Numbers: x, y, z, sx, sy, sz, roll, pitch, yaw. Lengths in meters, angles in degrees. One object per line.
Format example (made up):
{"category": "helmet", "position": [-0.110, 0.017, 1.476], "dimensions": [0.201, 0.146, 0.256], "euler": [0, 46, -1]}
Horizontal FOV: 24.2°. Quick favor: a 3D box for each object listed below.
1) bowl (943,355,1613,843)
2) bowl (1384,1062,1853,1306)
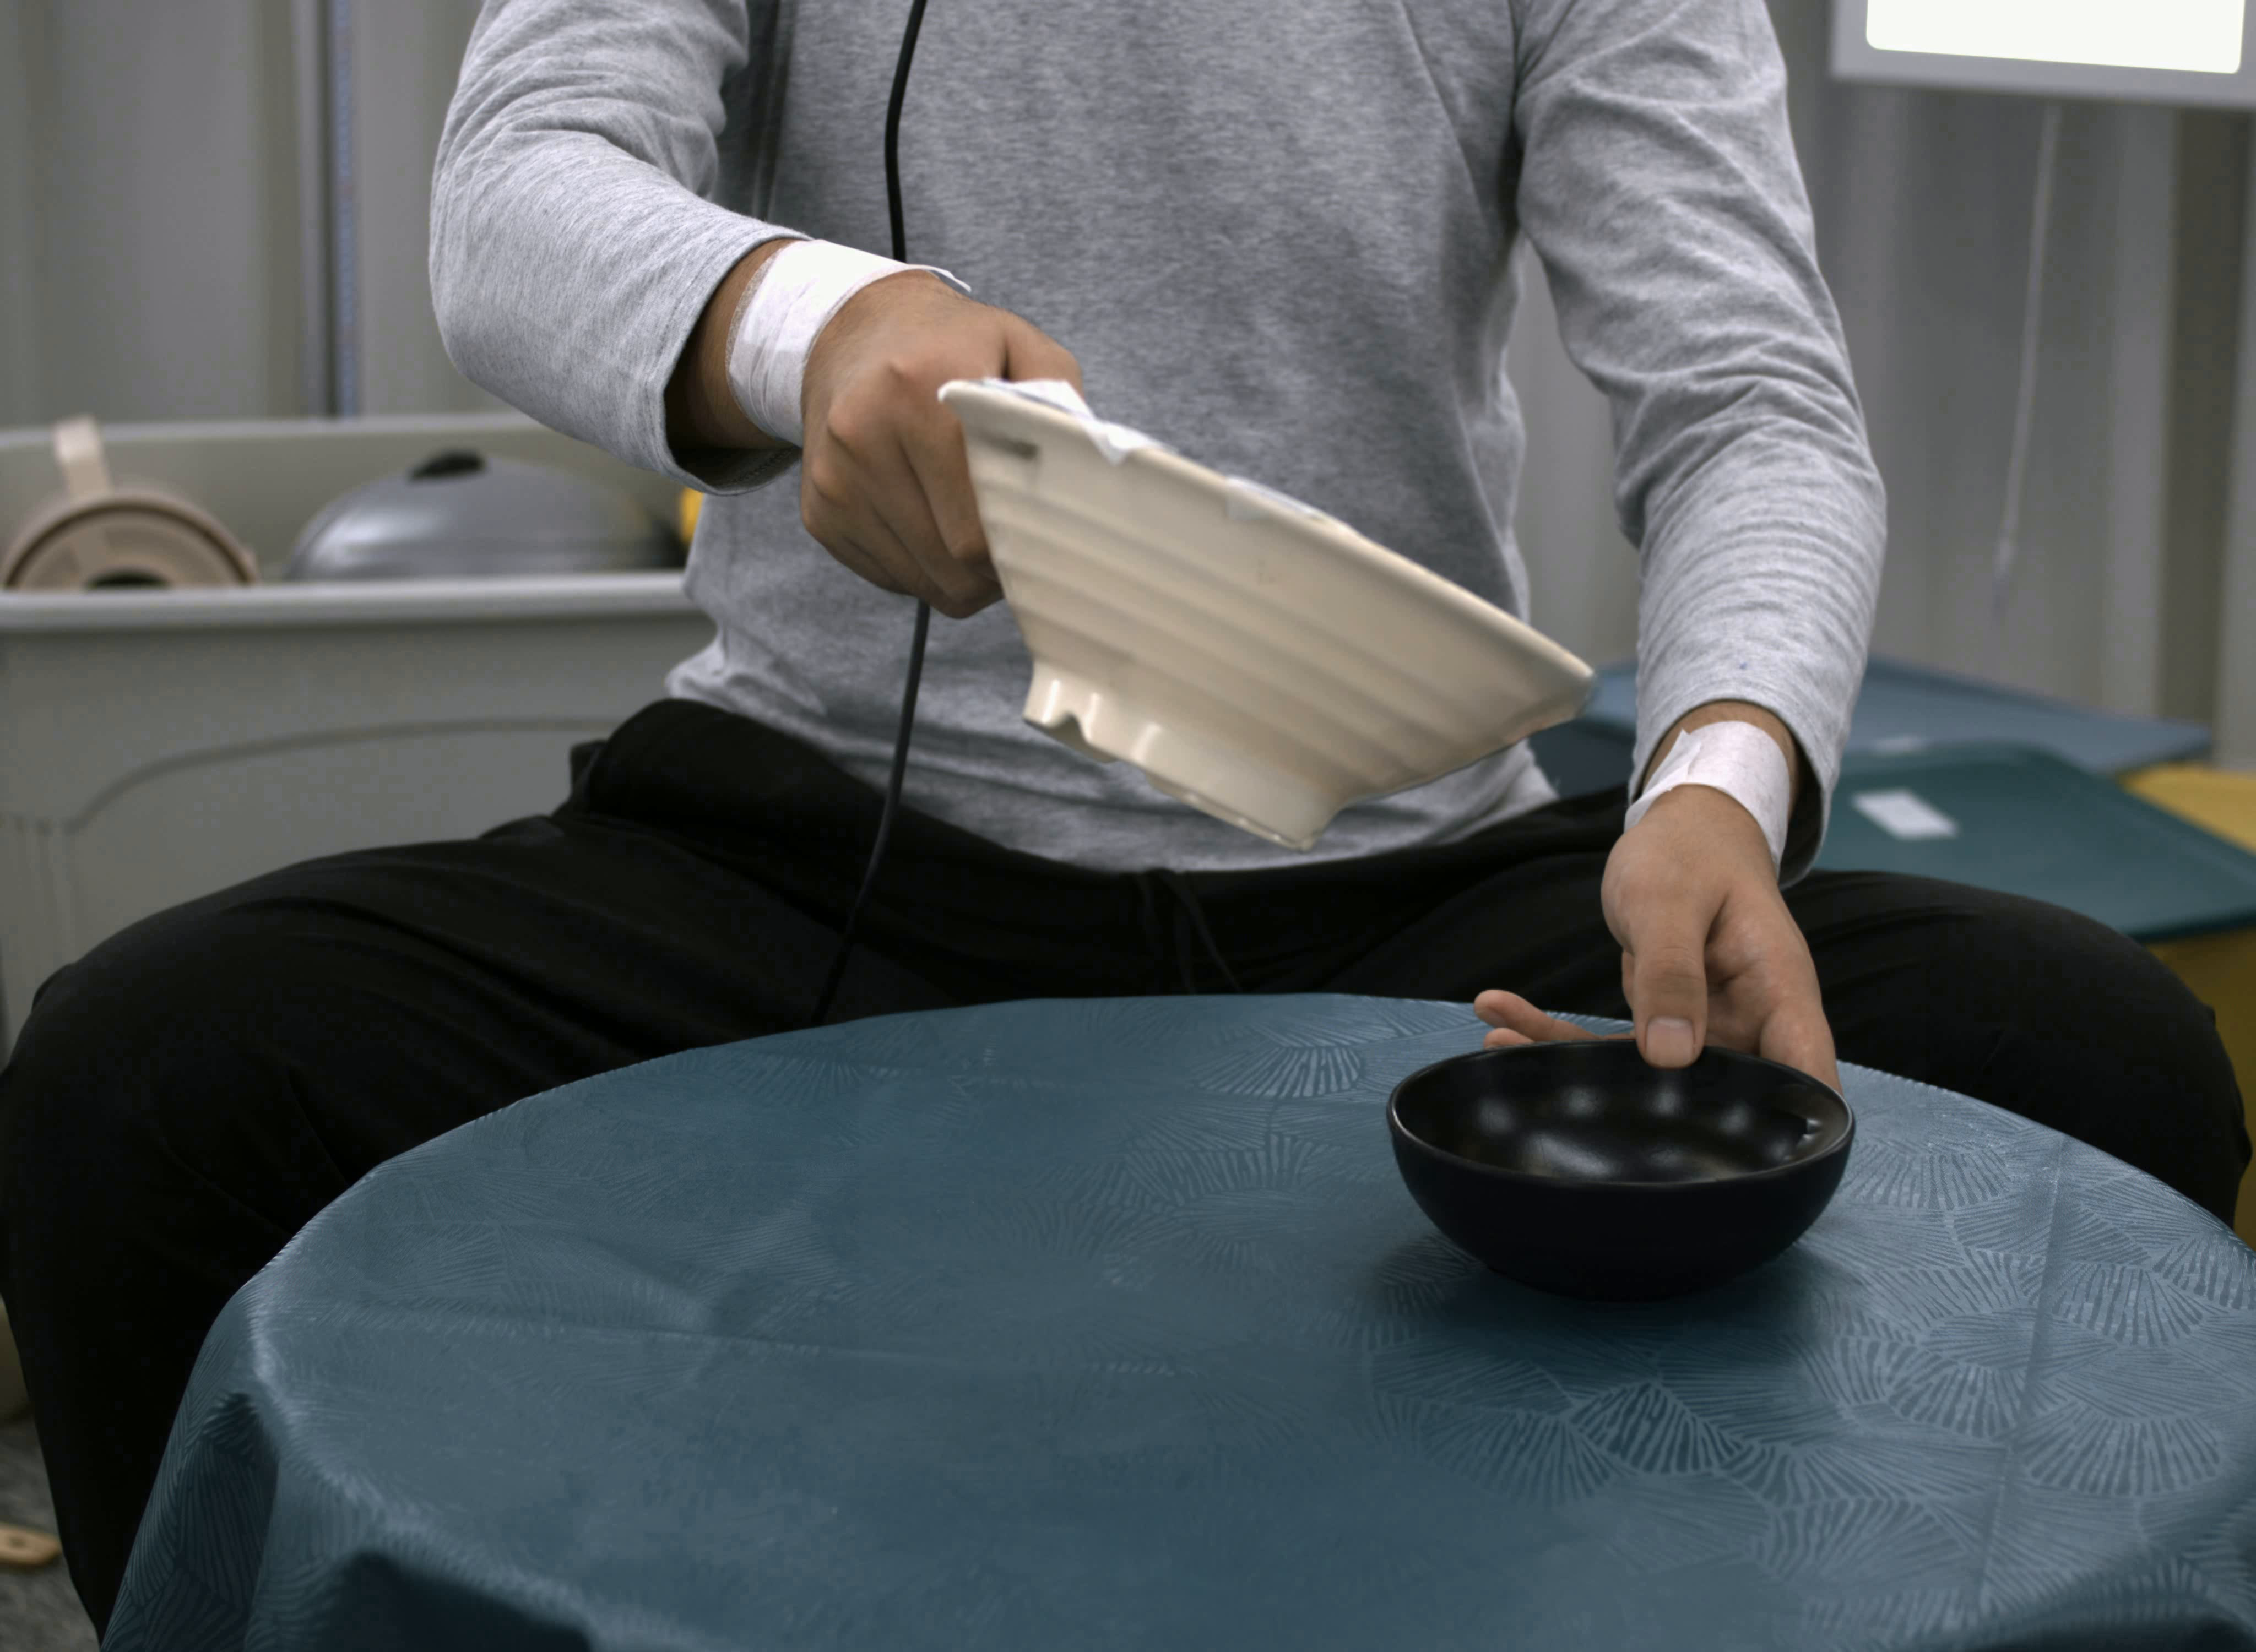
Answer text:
{"category": "bowl", "position": [0.026, -0.049, 1.435], "dimensions": [0.203, 0.078, 0.204], "euler": [26, -2, 1]}
{"category": "bowl", "position": [0.145, 0.109, 1.561], "dimensions": [0.139, 0.050, 0.139], "euler": [1, 11, 0]}
